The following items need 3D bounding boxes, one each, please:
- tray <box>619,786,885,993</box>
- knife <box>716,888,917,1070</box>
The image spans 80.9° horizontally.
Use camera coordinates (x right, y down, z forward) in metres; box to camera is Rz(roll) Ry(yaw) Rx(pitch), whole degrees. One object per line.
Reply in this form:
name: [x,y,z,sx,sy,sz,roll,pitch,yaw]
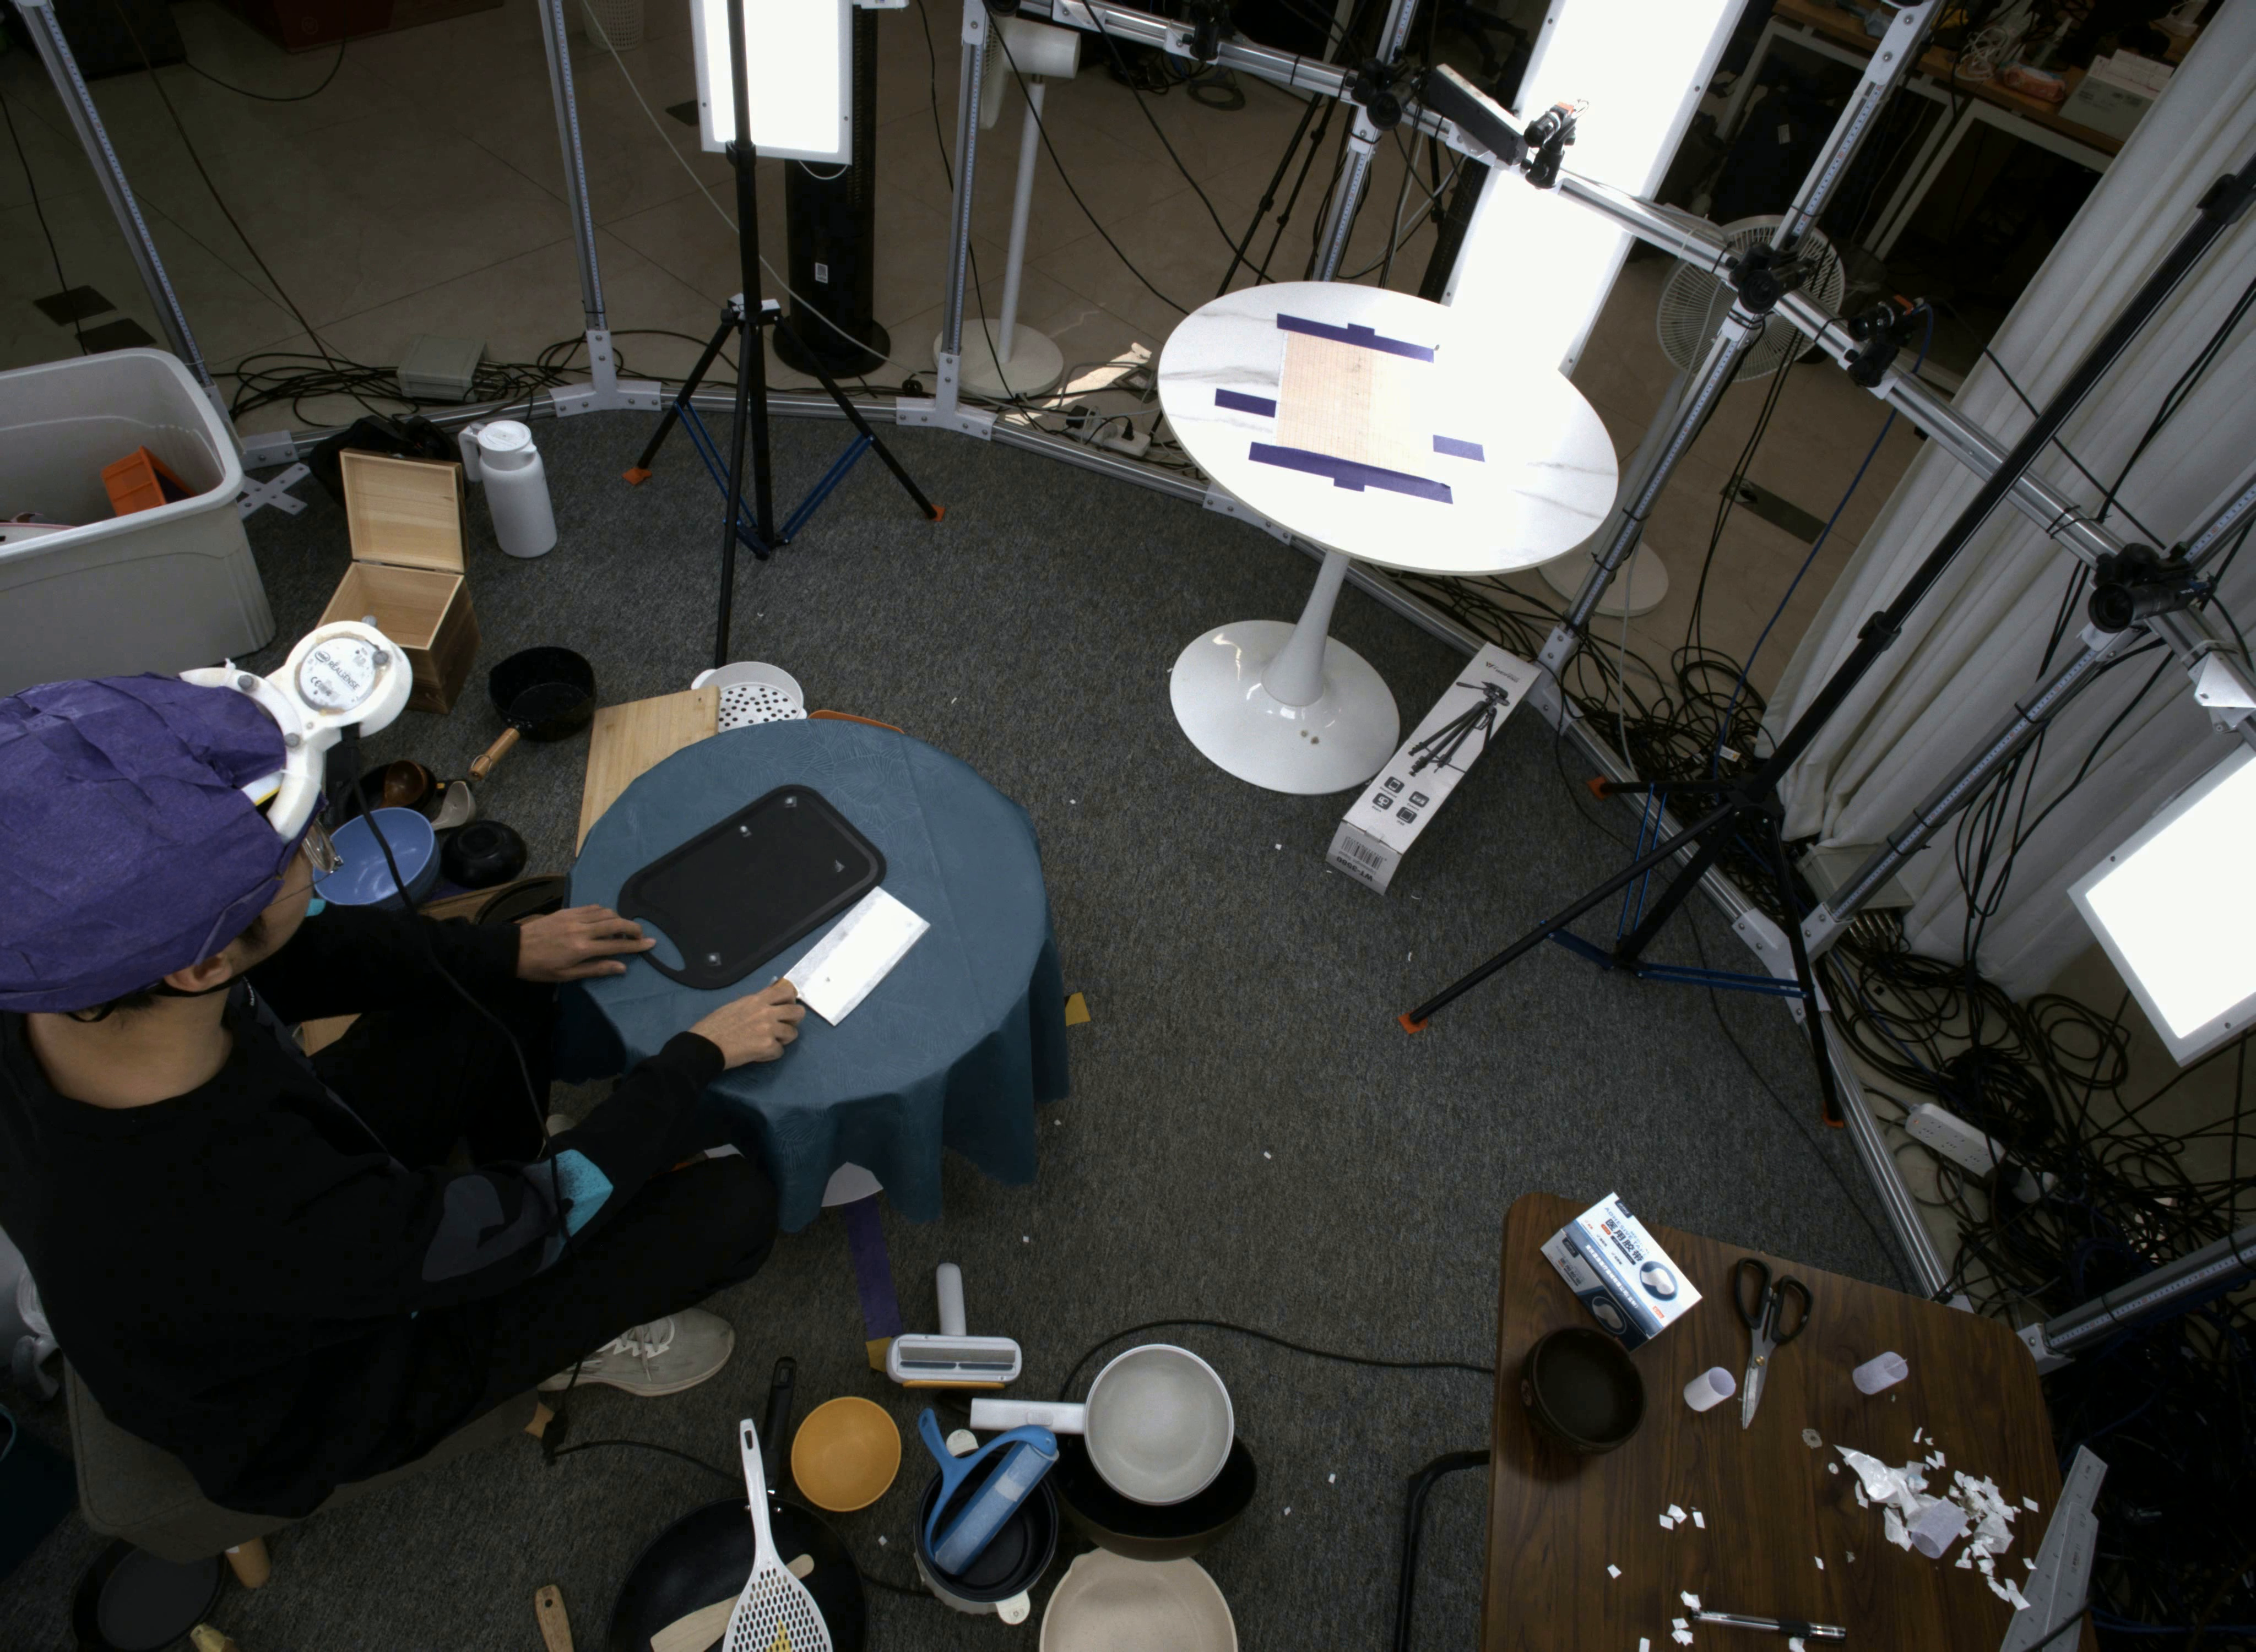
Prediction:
tray: [-0.480,0.074,1.638,0.206,0.010,0.326,41,54,17]
knife: [-0.367,0.191,1.577,0.092,0.021,0.305,36,52,5]
